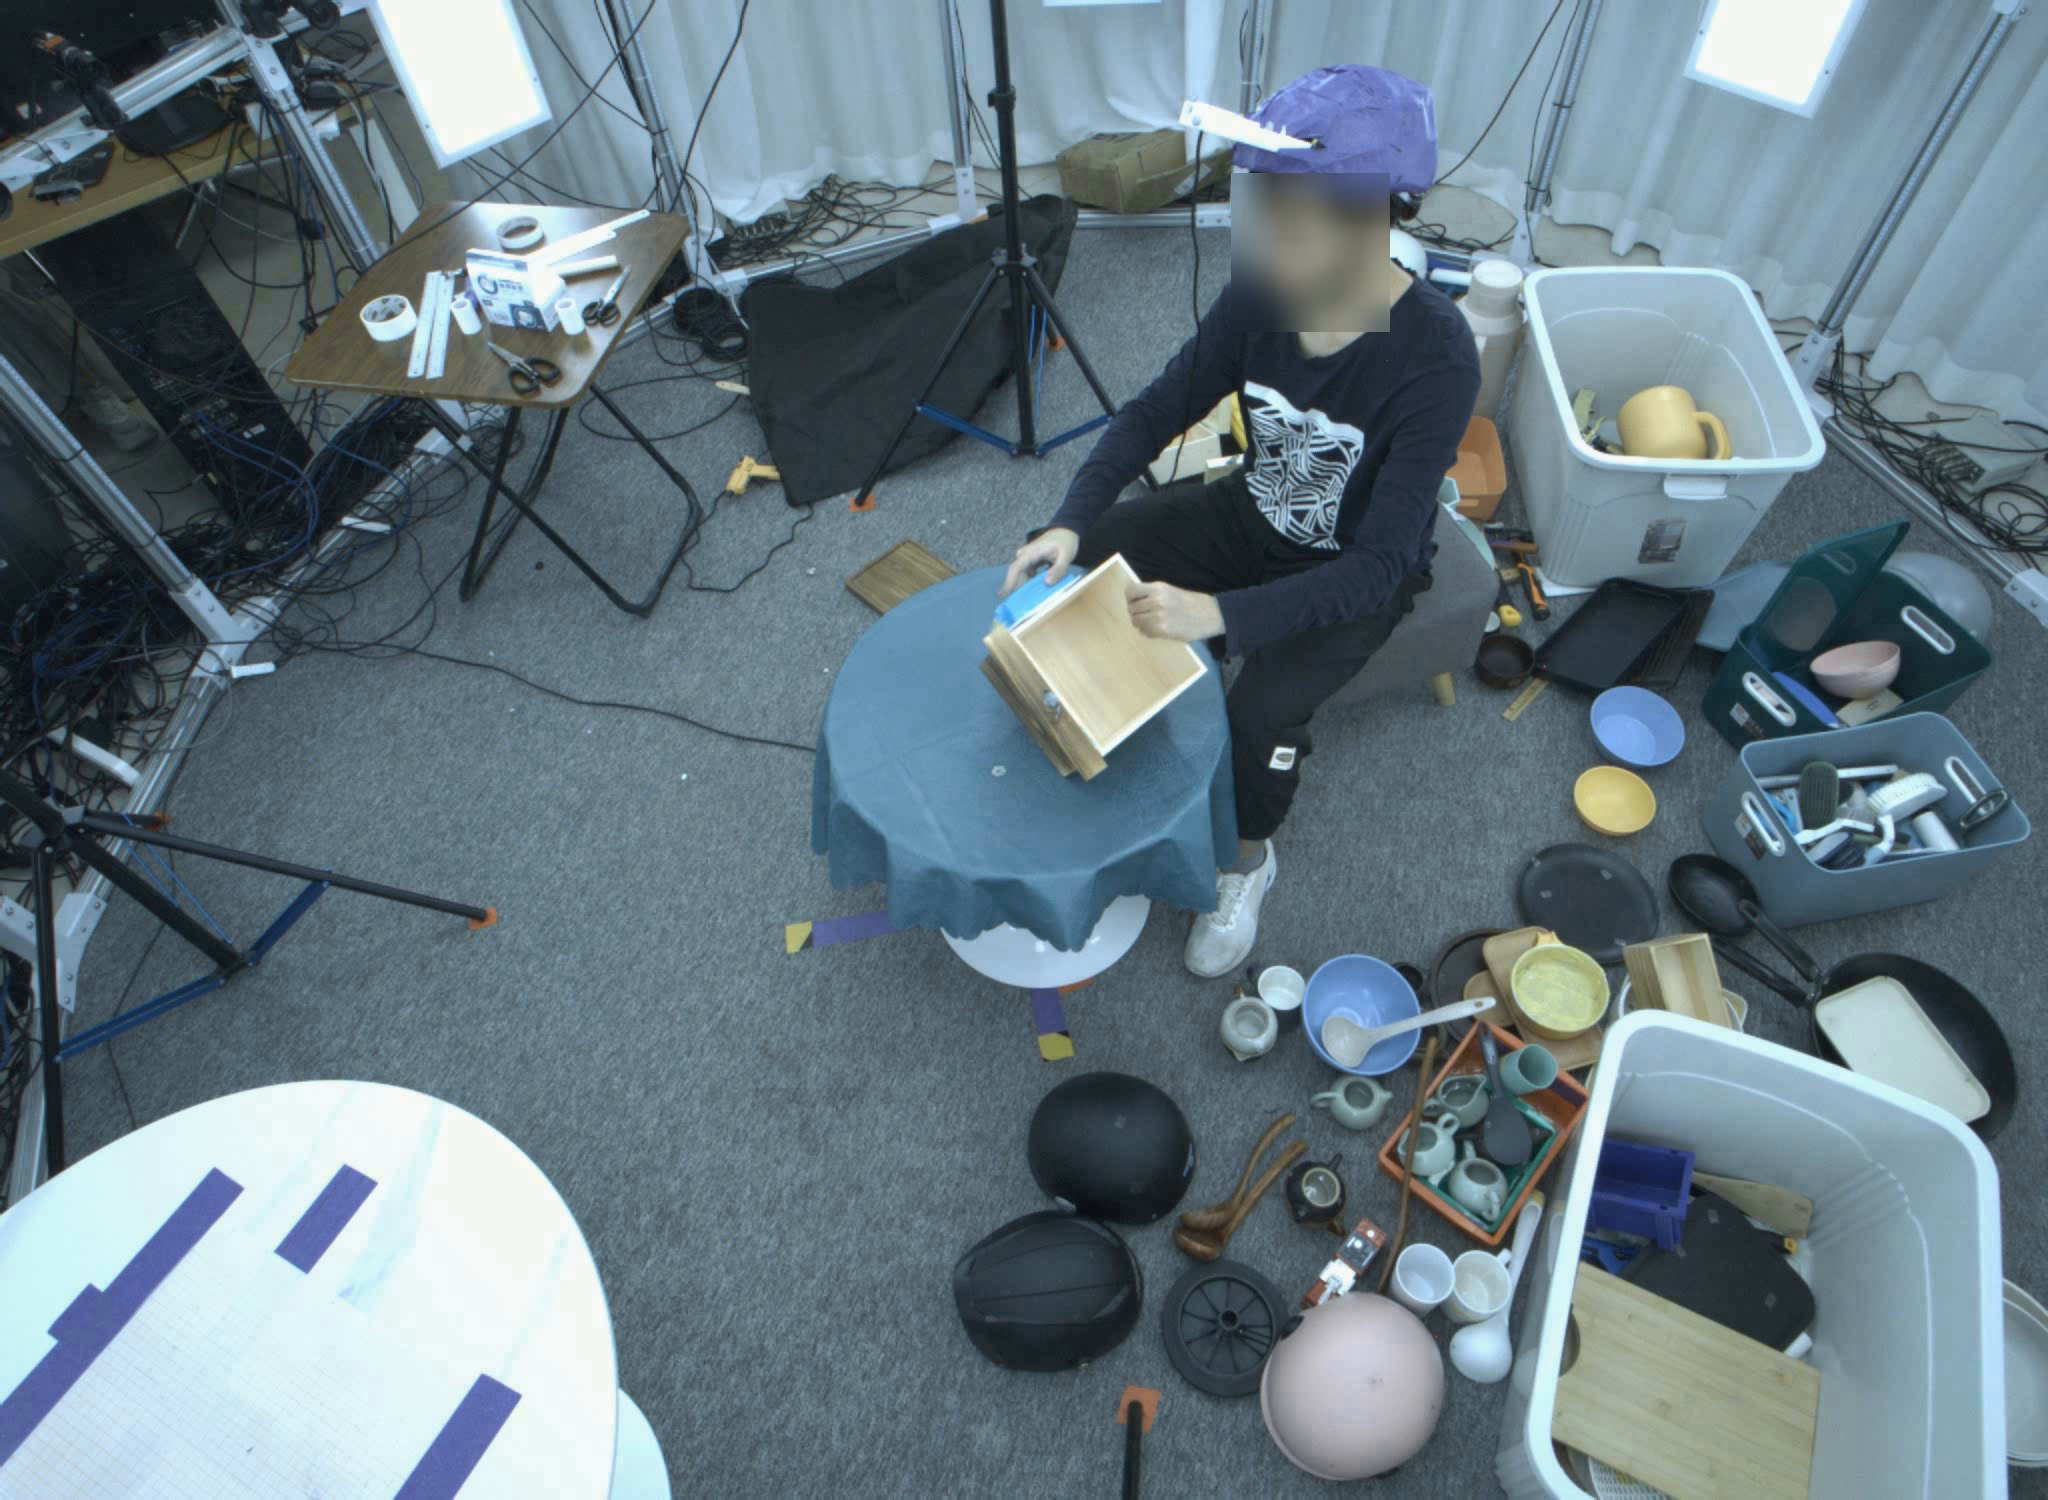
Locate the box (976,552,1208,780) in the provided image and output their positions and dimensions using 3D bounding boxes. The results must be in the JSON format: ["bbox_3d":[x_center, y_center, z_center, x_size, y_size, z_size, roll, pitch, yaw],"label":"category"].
[{"bbox_3d":[0.080,-0.101,1.594,0.324,0.372,0.209,-39,92,-20],"label":"box"}]

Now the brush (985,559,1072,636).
[{"bbox_3d":[0.000,-0.218,1.716,0.056,0.083,0.145,50,60,-7],"label":"brush"}]
